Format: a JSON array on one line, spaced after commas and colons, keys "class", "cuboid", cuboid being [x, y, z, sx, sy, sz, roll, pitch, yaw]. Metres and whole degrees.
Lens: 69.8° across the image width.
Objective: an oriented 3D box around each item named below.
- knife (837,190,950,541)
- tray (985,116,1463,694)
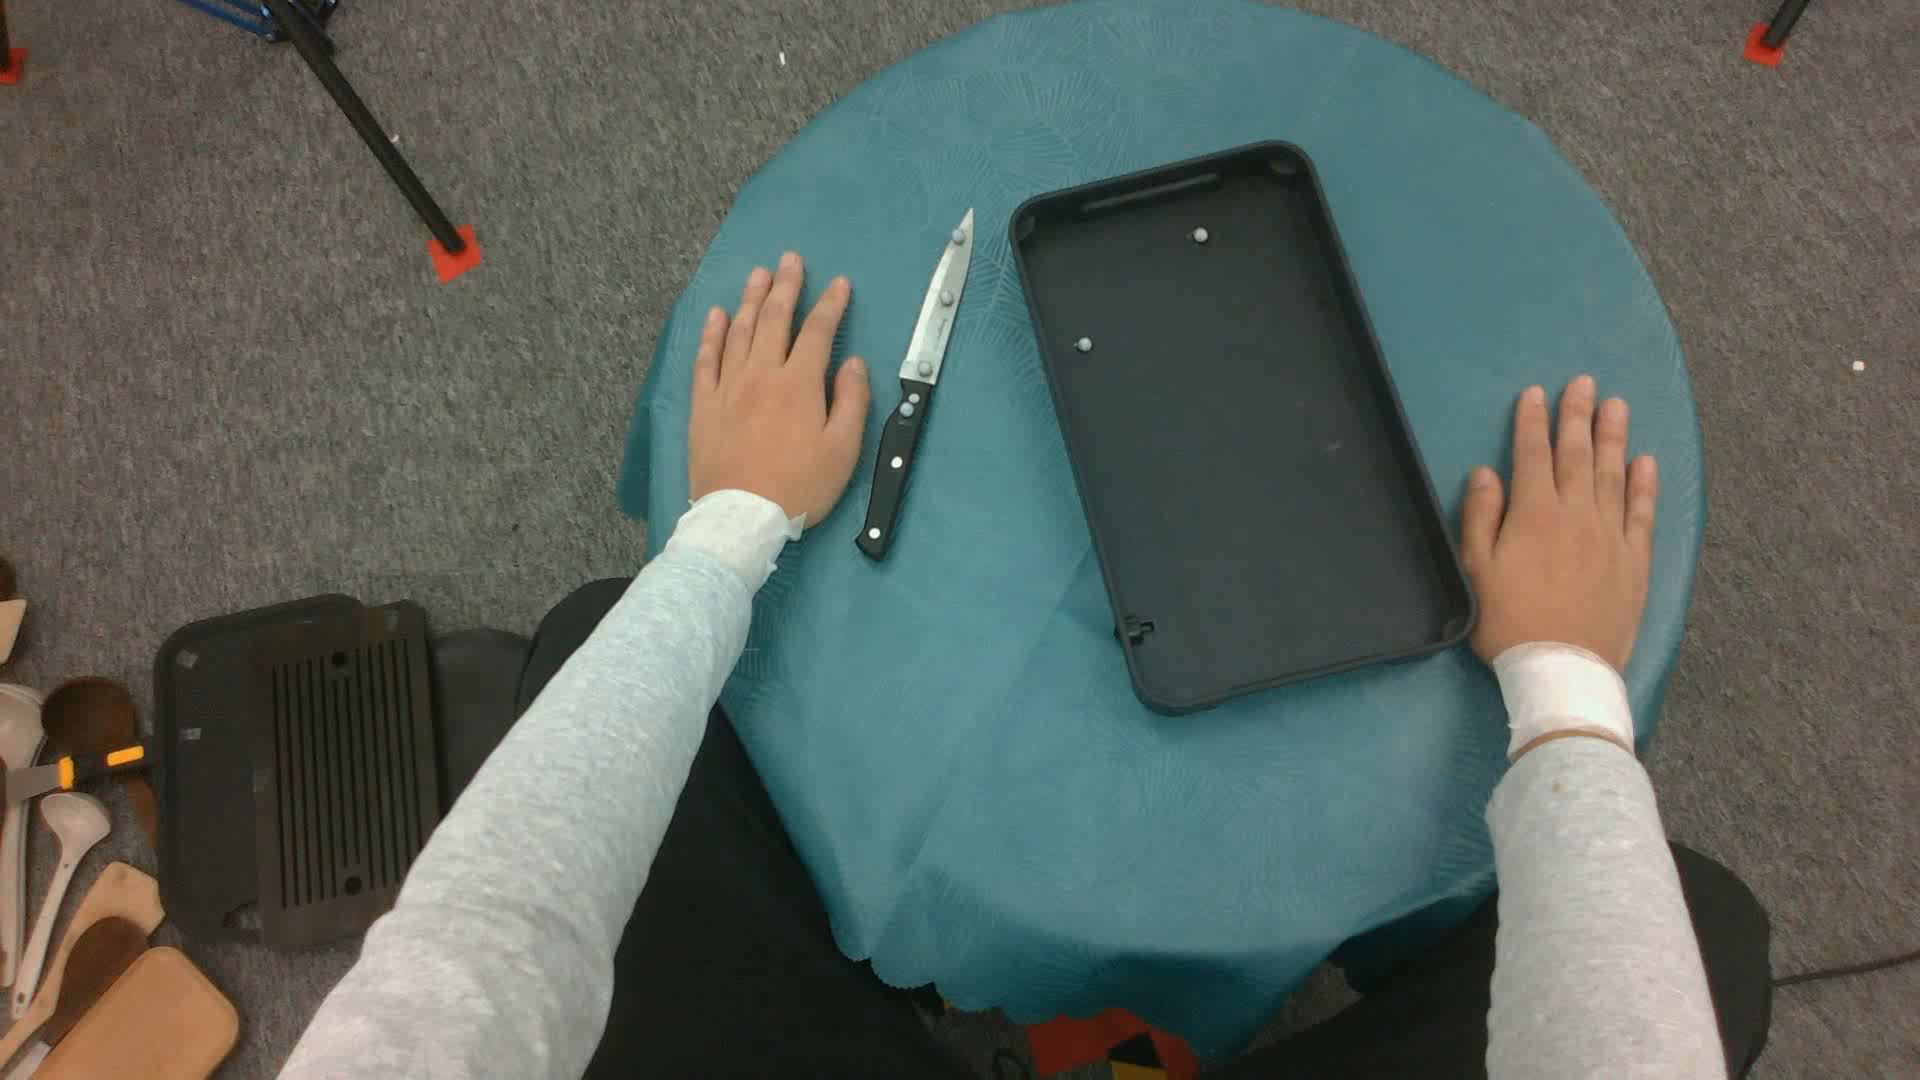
[{"class": "knife", "cuboid": [-0.033, -0.107, 0.805, 0.024, 0.016, 0.239, 13, 69, 4]}, {"class": "tray", "cuboid": [0.139, -0.083, 0.775, 0.184, 0.037, 0.318, -15, 71, -2]}]
